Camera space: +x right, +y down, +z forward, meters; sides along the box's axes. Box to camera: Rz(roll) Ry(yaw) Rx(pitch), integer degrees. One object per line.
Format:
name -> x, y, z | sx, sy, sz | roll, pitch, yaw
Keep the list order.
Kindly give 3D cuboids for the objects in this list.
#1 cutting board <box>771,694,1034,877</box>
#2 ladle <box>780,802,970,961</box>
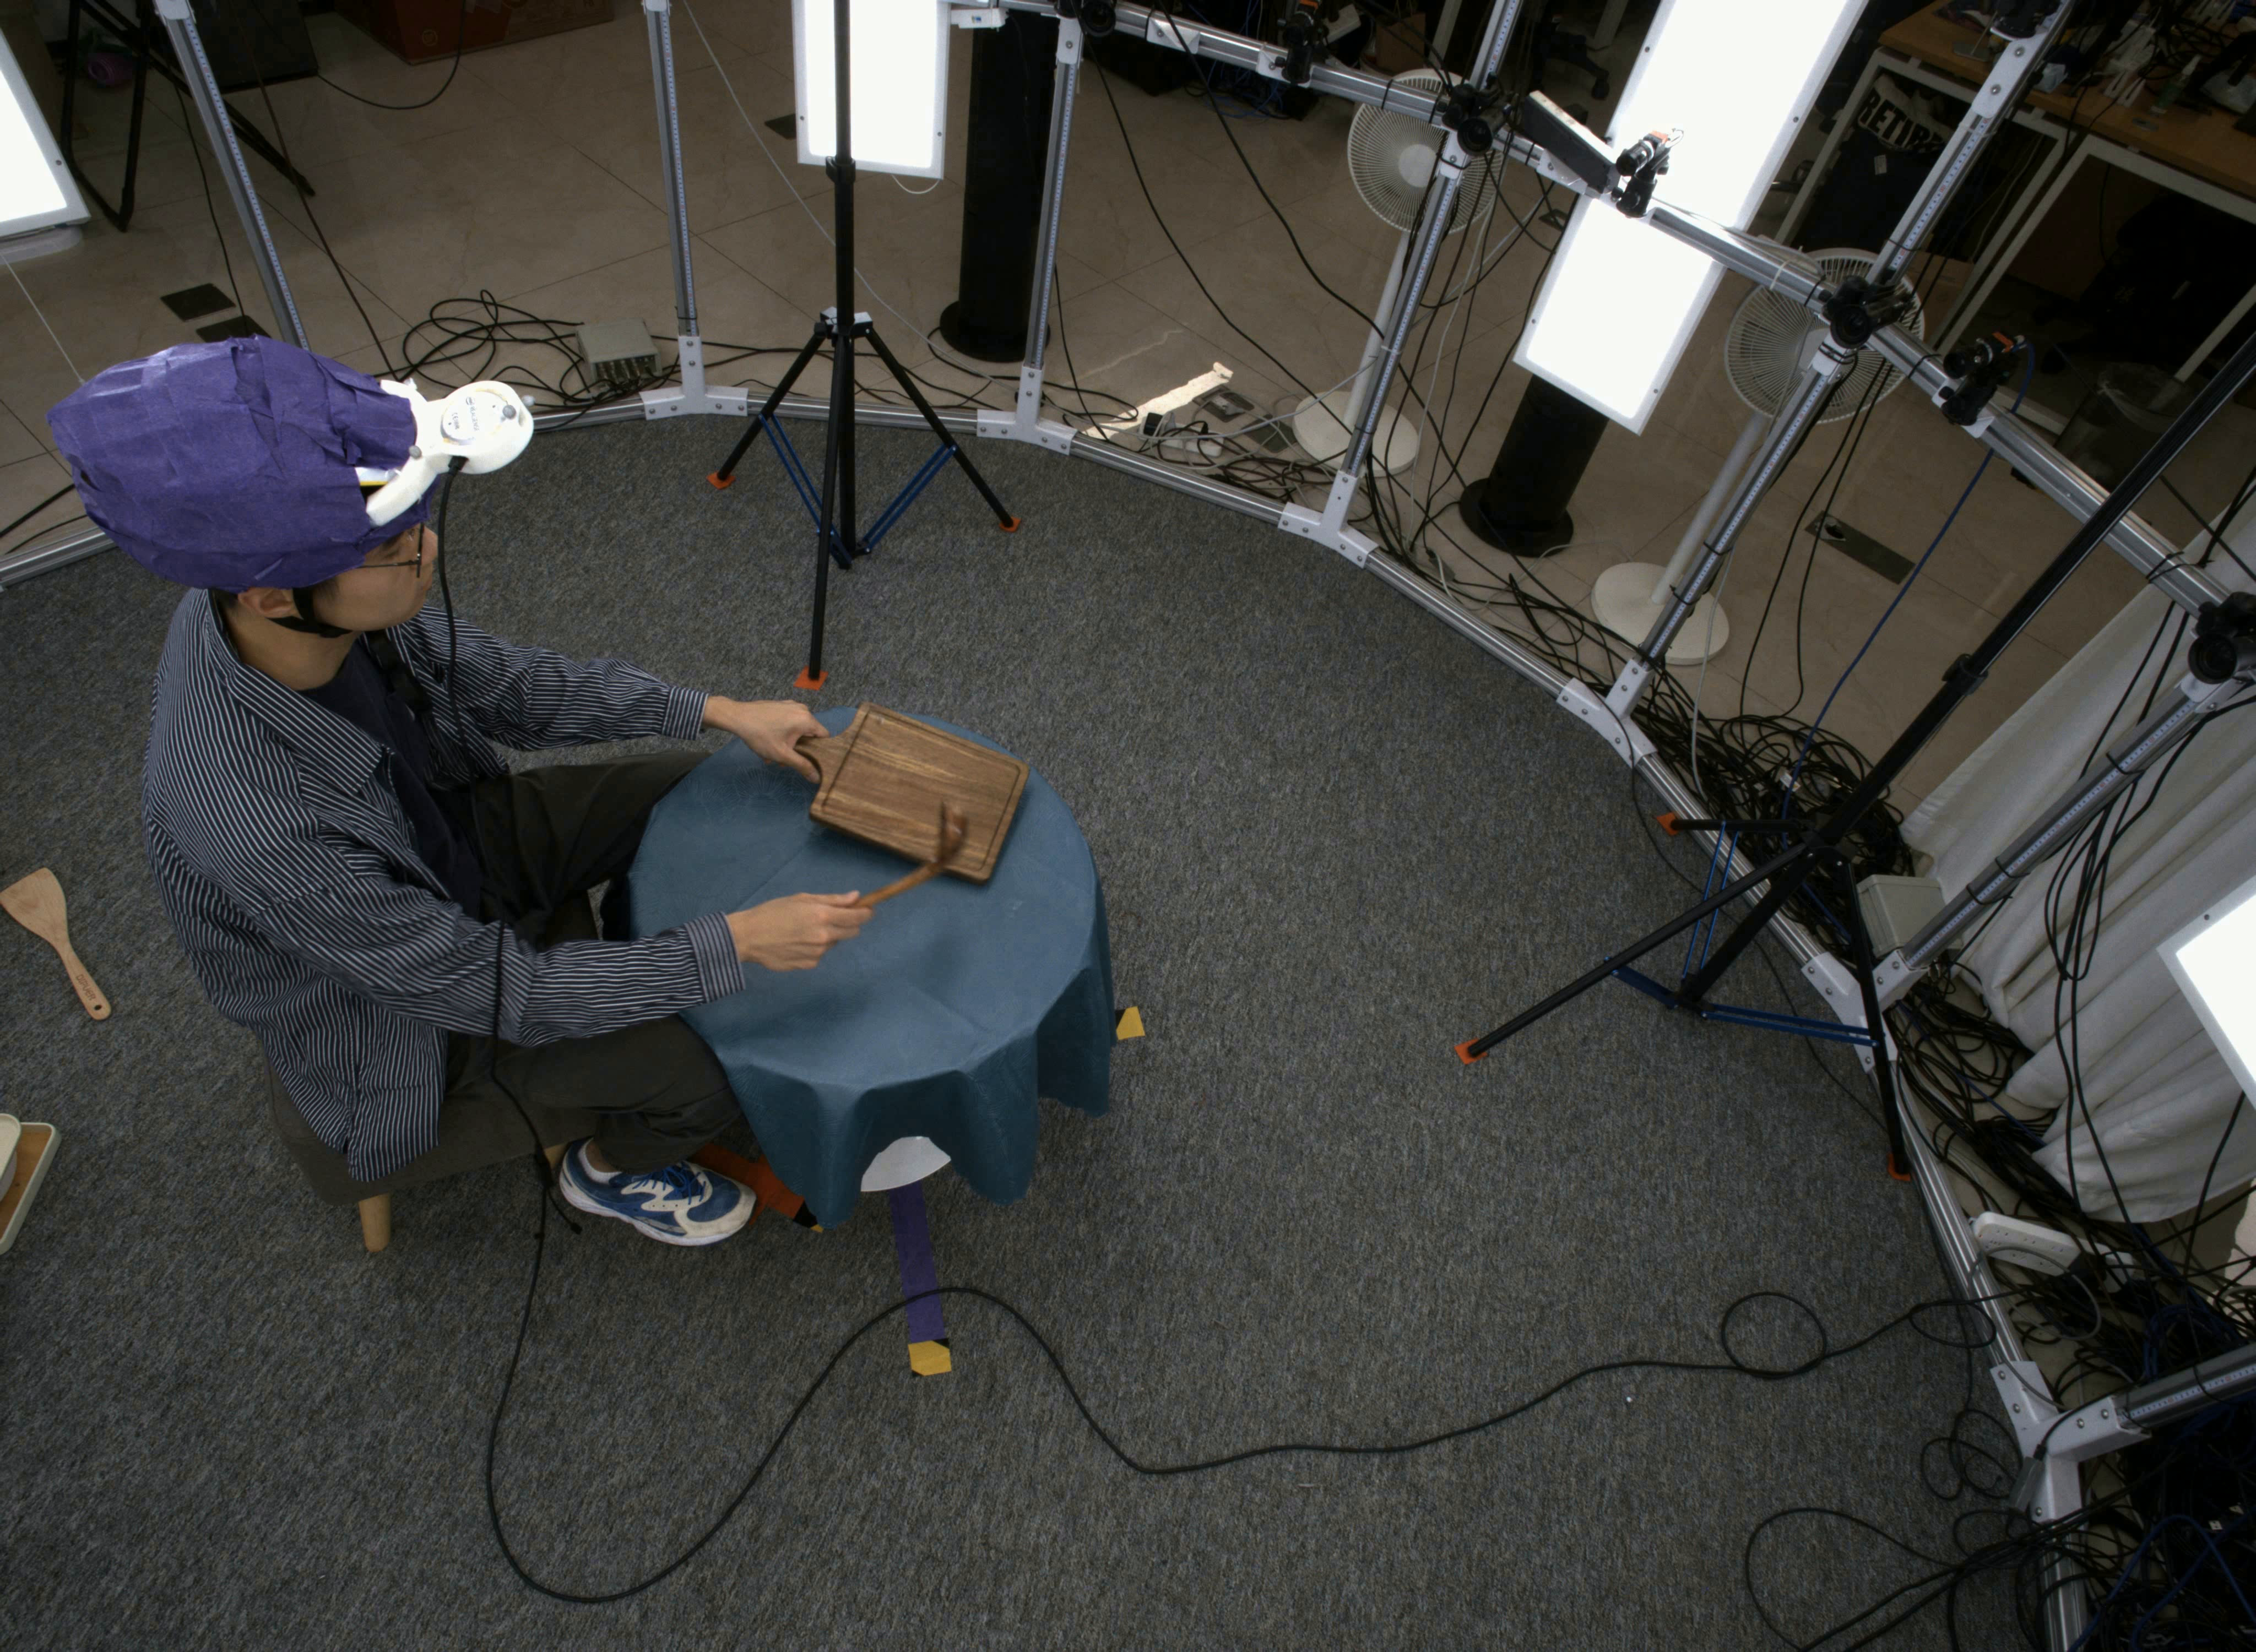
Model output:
cutting board -> -0.317, -0.075, 1.764 | 0.352, 0.023, 0.199 | 22, 58, -8
ladle -> -0.307, 0.062, 1.556 | 0.273, 0.081, 0.078 | -28, 96, -11
